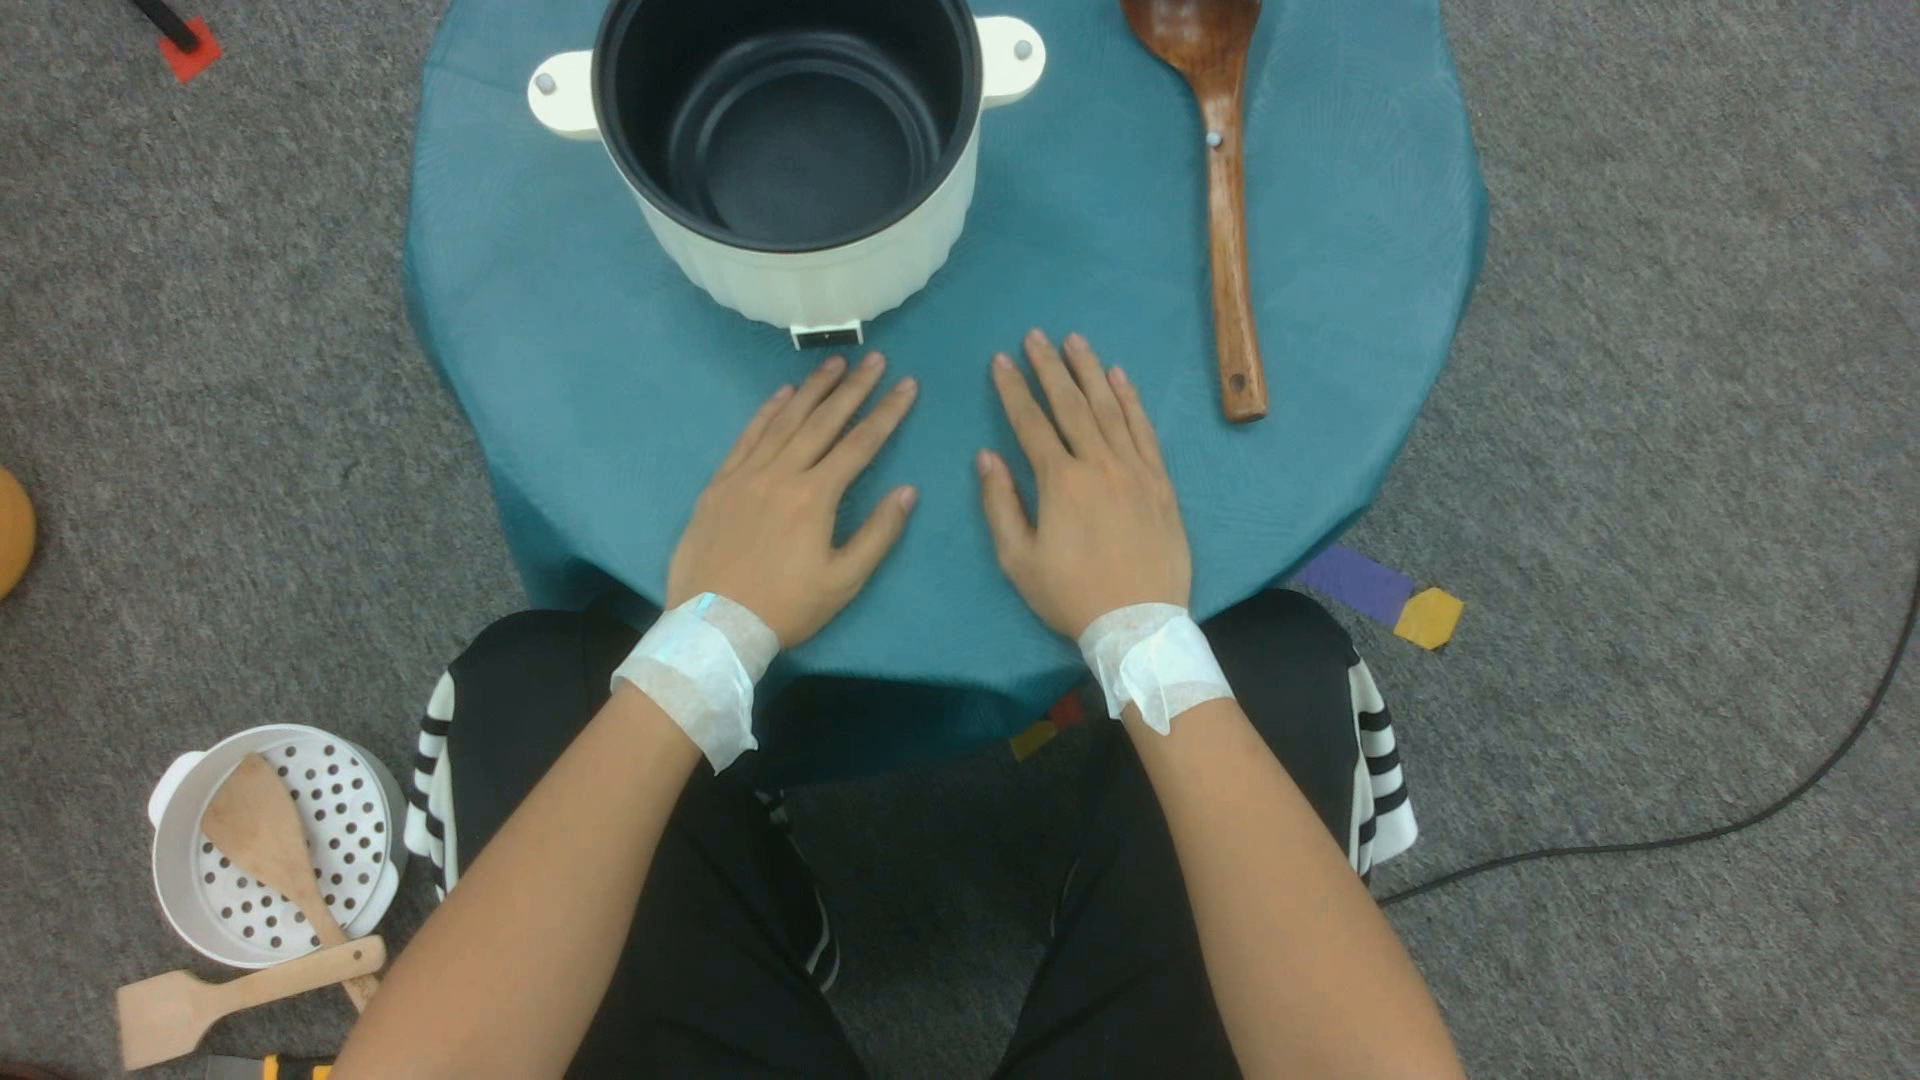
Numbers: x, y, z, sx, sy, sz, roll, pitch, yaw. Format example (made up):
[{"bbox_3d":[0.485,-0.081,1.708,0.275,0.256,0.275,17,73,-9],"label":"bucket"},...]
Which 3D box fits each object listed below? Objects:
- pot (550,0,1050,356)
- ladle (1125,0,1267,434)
[{"bbox_3d":[-0.078,-0.206,0.720,0.240,0.142,0.191,-6,80,-3],"label":"pot"},{"bbox_3d":[0.133,-0.198,0.757,0.081,0.077,0.274,-10,74,44],"label":"ladle"}]
